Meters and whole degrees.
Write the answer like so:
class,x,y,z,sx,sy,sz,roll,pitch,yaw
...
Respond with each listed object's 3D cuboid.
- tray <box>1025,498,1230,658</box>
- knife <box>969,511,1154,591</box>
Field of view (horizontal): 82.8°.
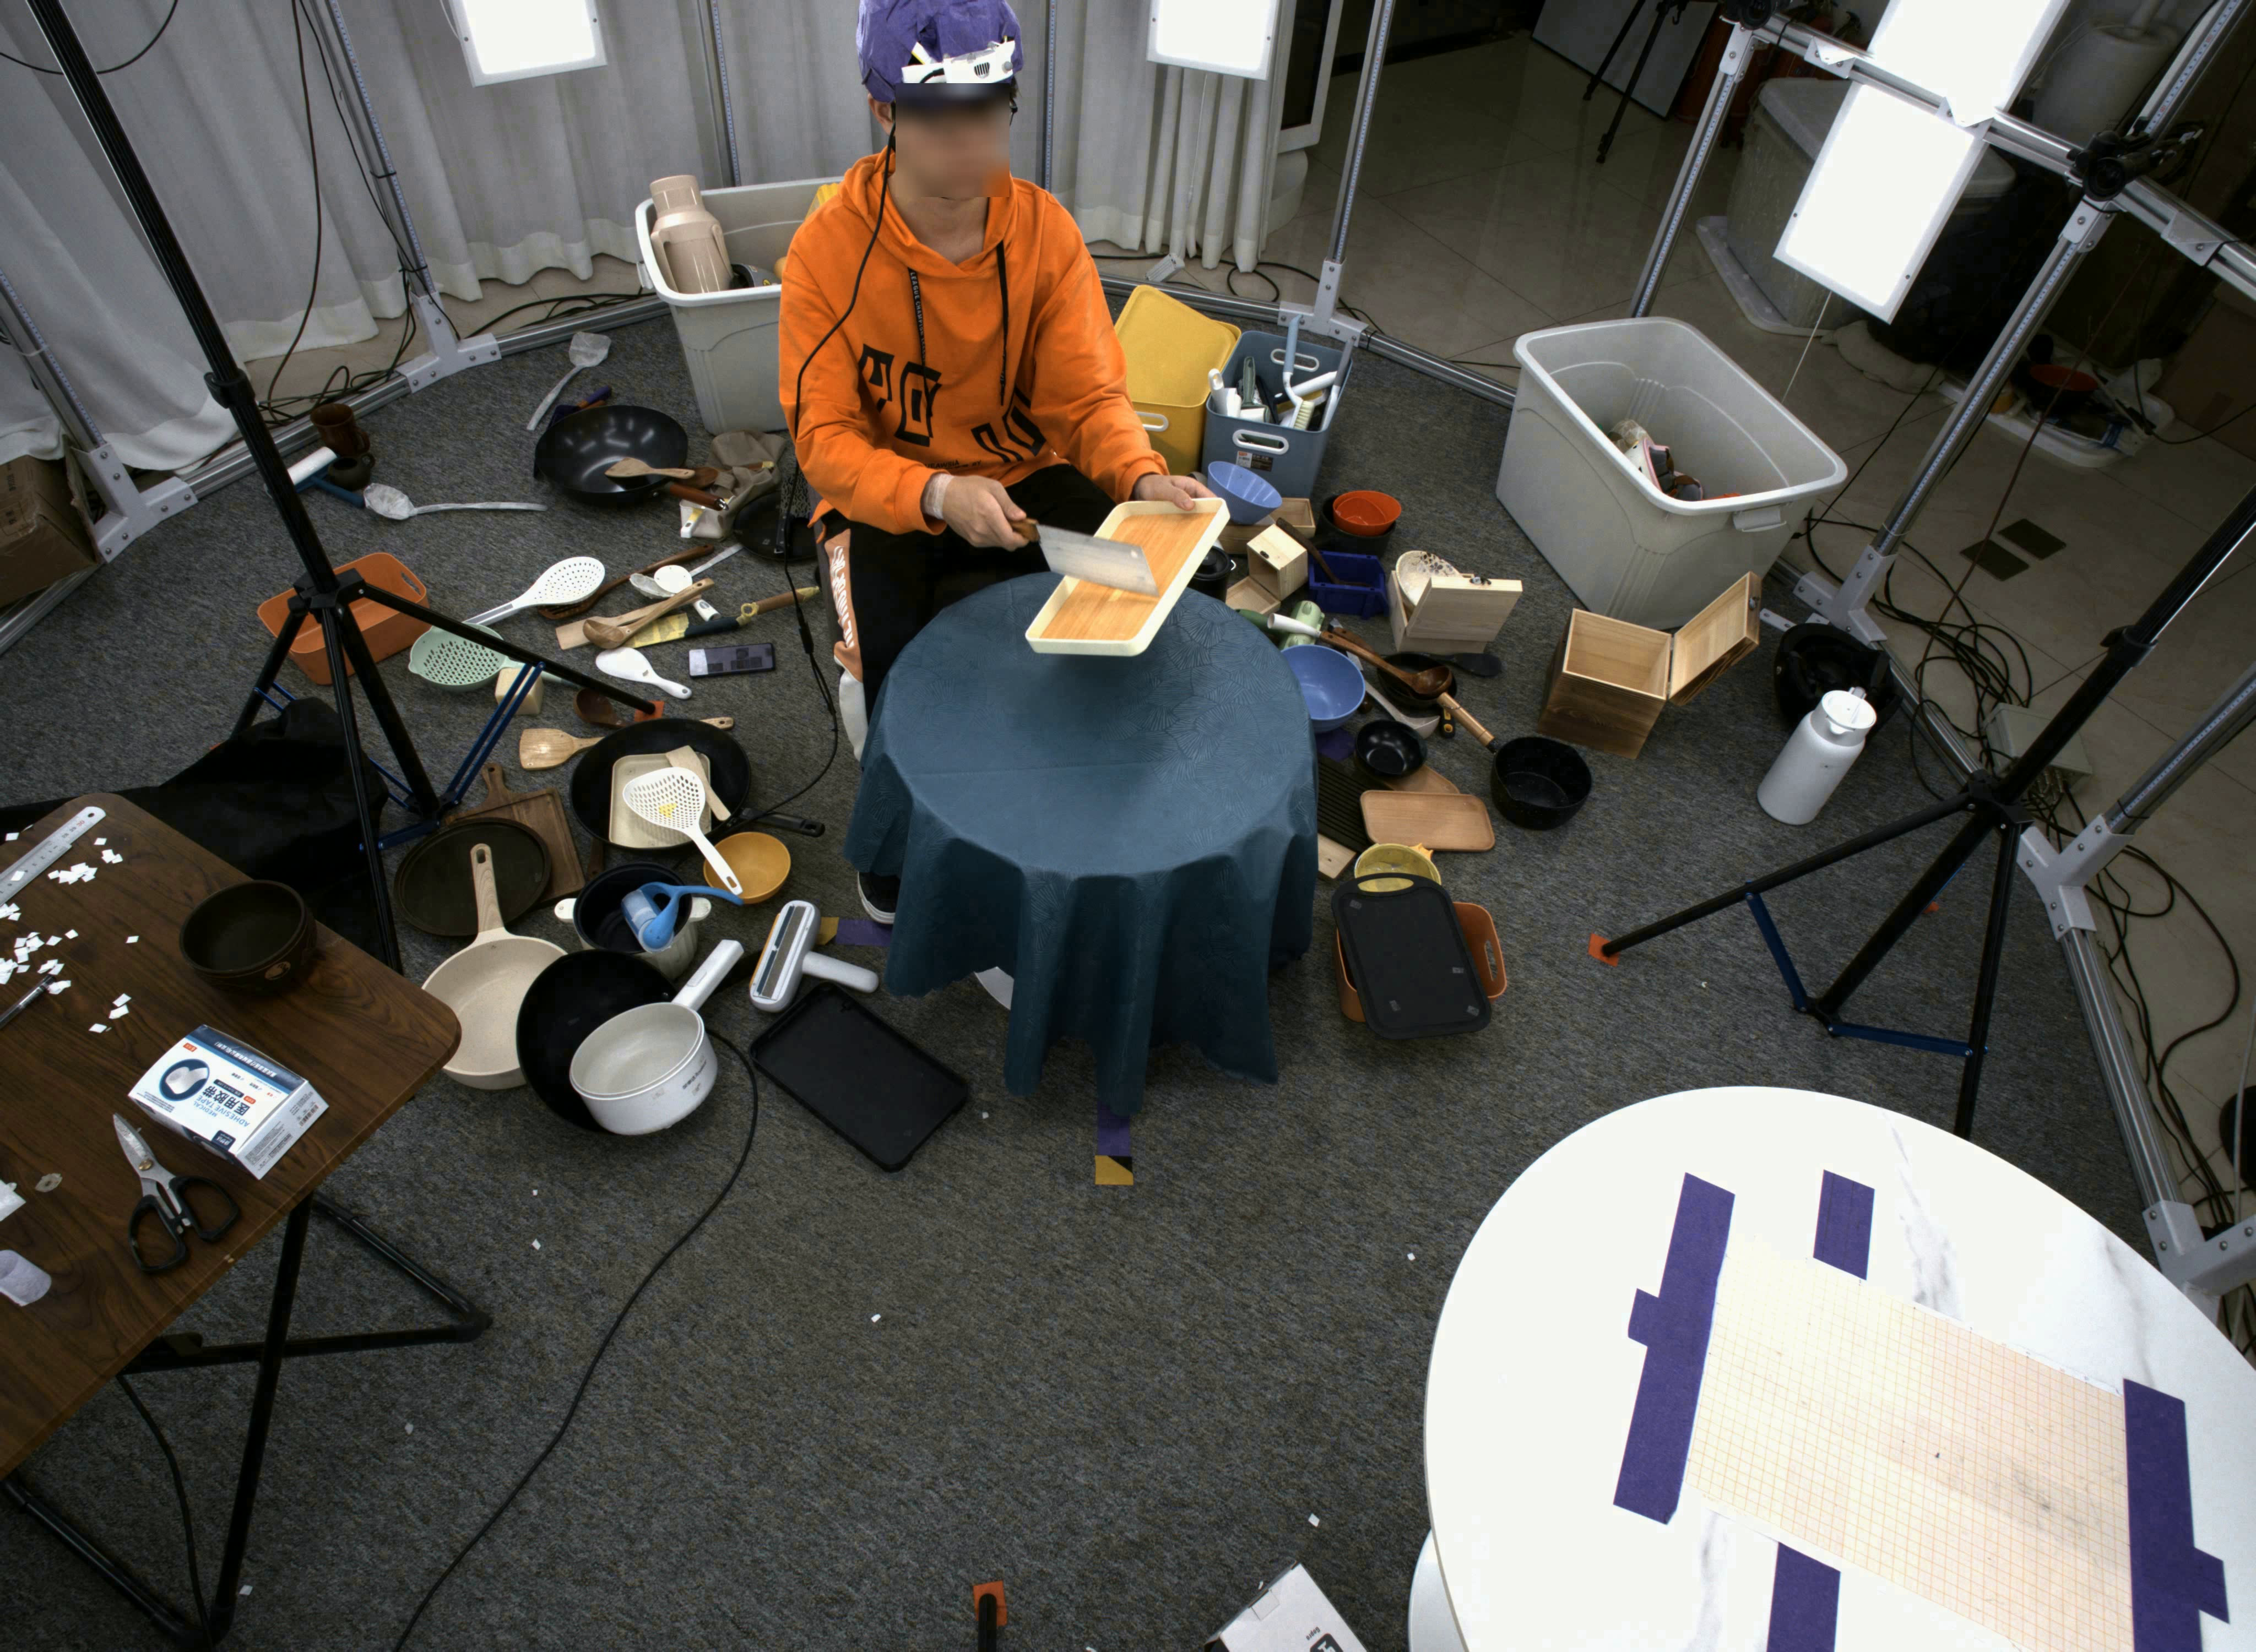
class,x,y,z,sx,sy,sz,roll,pitch,yaw
tray,0.002,-0.344,1.766,0.193,0.027,0.305,7,52,34
knife,-0.091,-0.372,1.756,0.309,0.090,0.021,21,63,34
